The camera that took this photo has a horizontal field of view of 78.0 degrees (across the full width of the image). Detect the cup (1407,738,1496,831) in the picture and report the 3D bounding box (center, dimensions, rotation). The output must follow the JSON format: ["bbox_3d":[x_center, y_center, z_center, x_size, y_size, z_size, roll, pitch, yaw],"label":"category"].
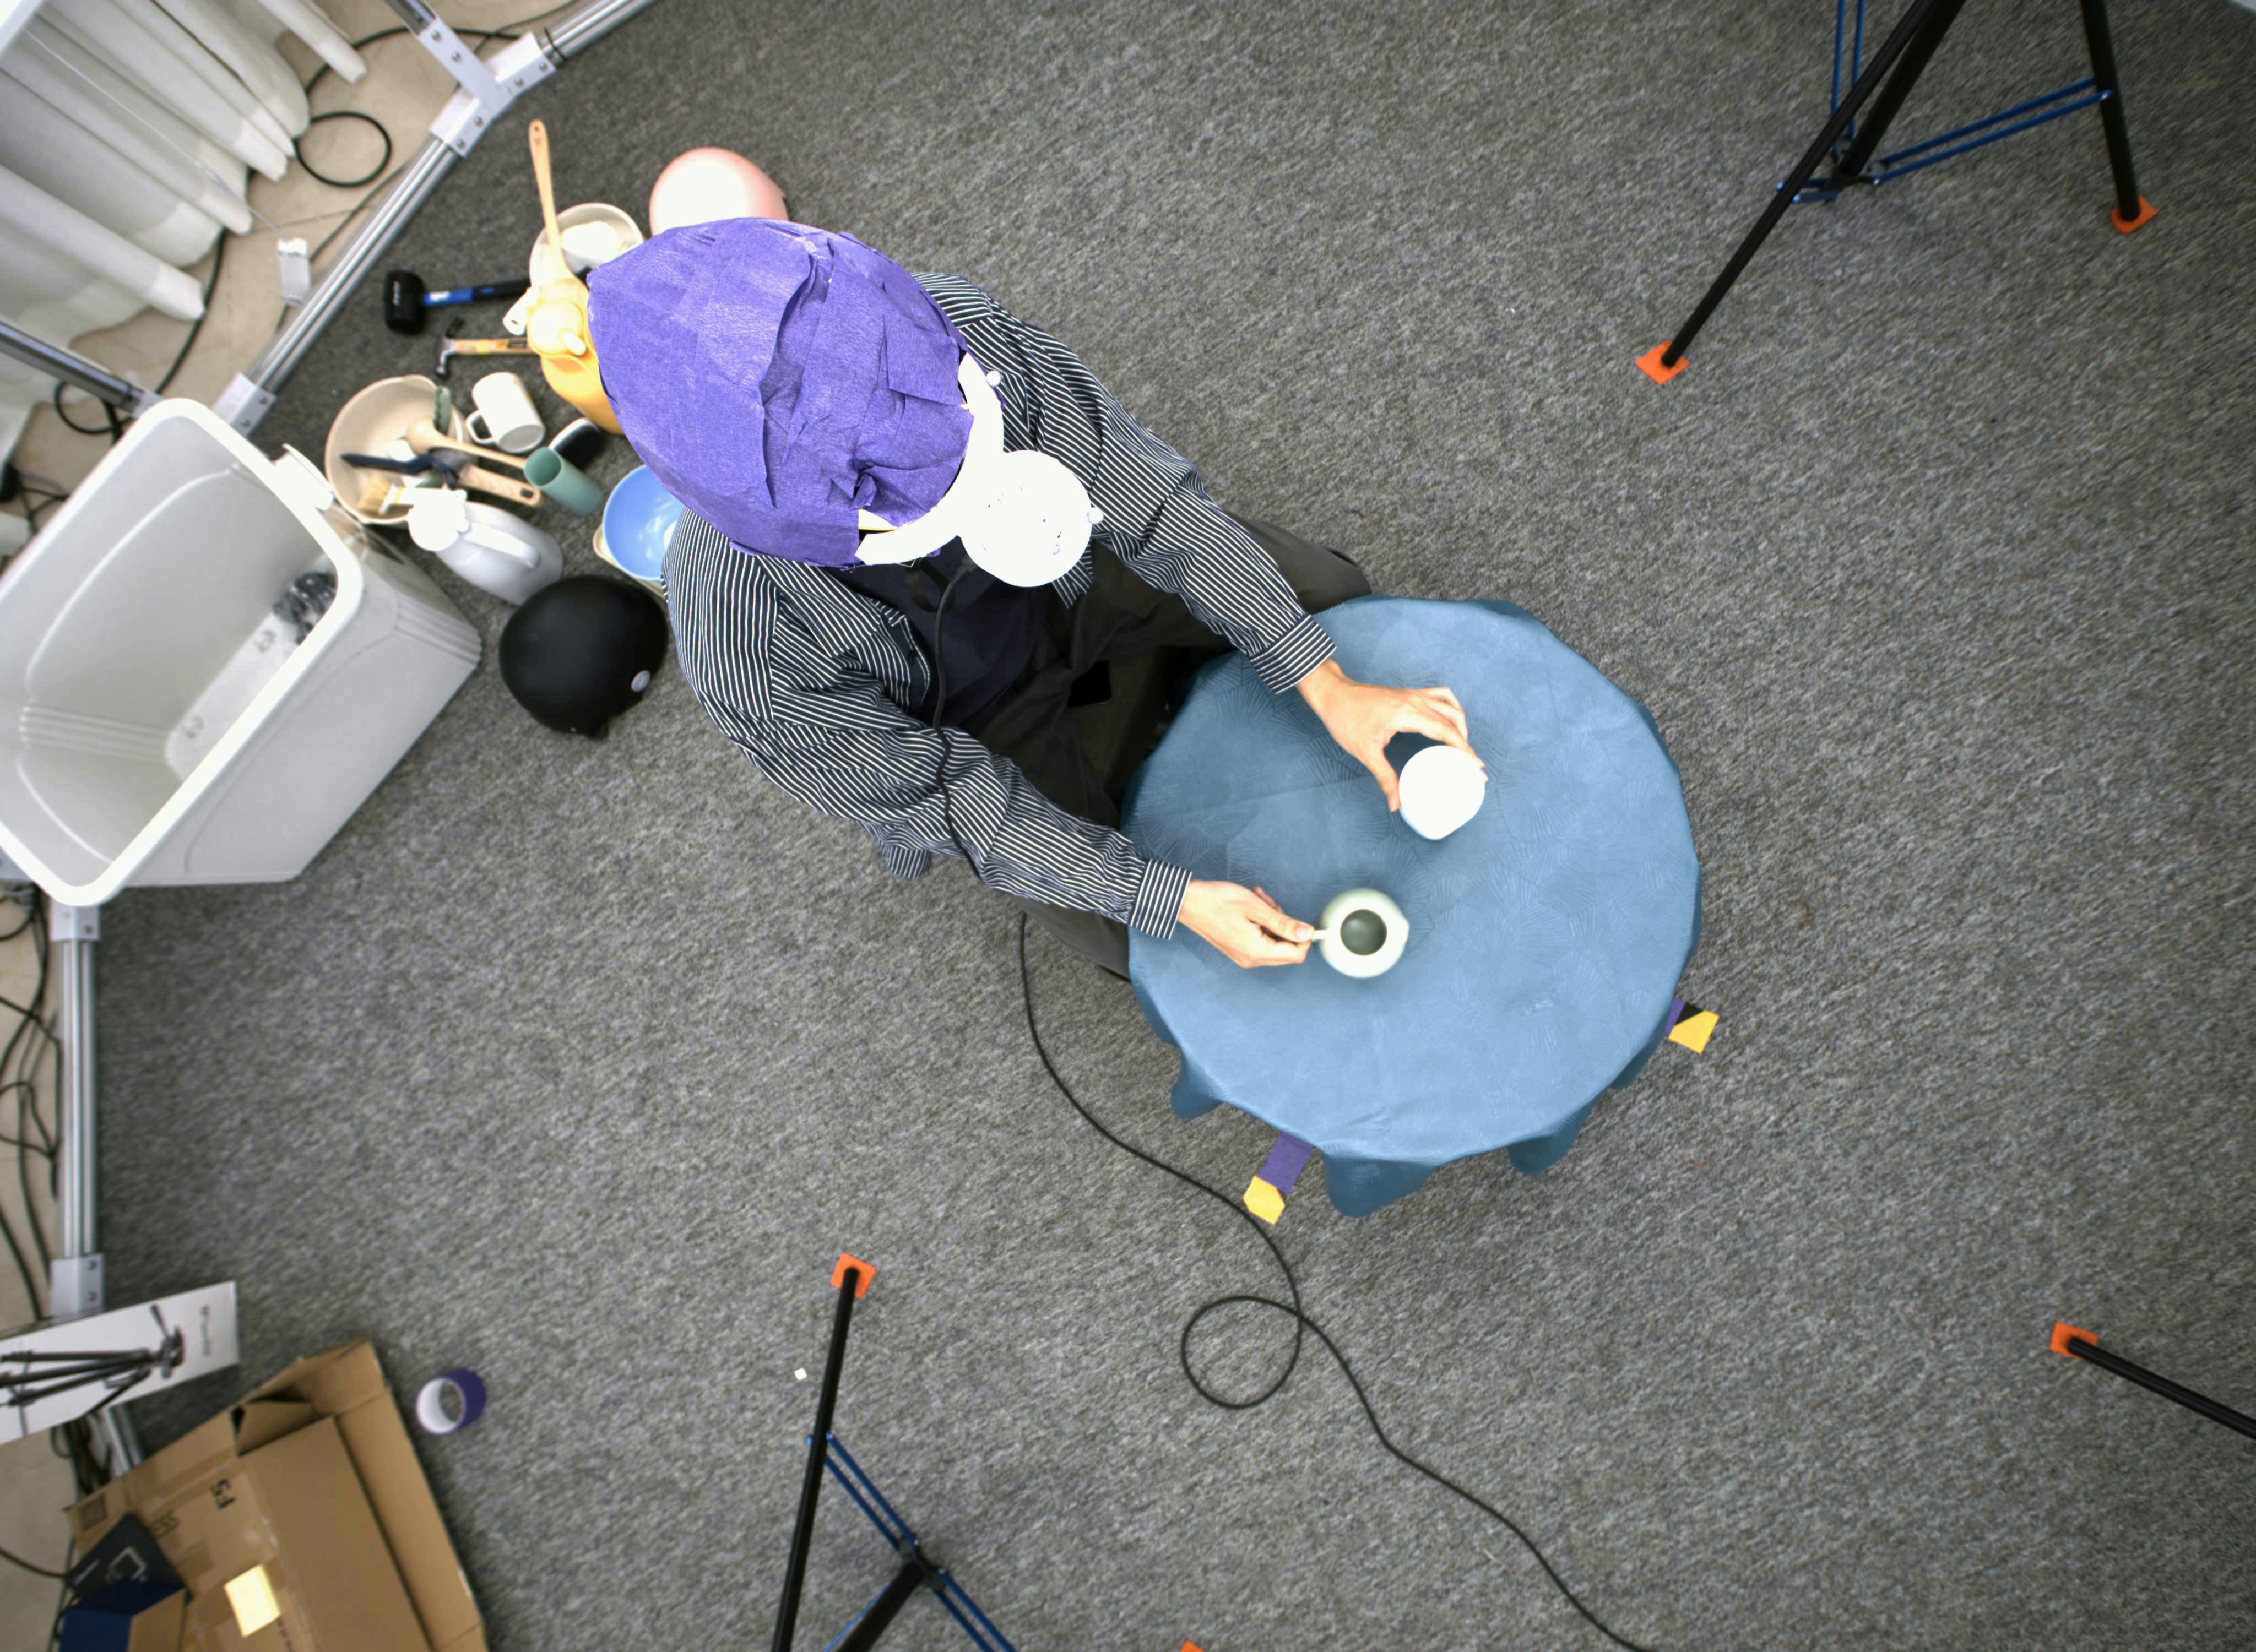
[{"bbox_3d":[0.319,-0.040,1.370,0.082,0.125,0.081,-1,85,8],"label":"cup"}]

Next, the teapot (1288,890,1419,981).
[{"bbox_3d":[0.226,0.109,1.397,0.129,0.061,0.091,1,90,3],"label":"teapot"}]
